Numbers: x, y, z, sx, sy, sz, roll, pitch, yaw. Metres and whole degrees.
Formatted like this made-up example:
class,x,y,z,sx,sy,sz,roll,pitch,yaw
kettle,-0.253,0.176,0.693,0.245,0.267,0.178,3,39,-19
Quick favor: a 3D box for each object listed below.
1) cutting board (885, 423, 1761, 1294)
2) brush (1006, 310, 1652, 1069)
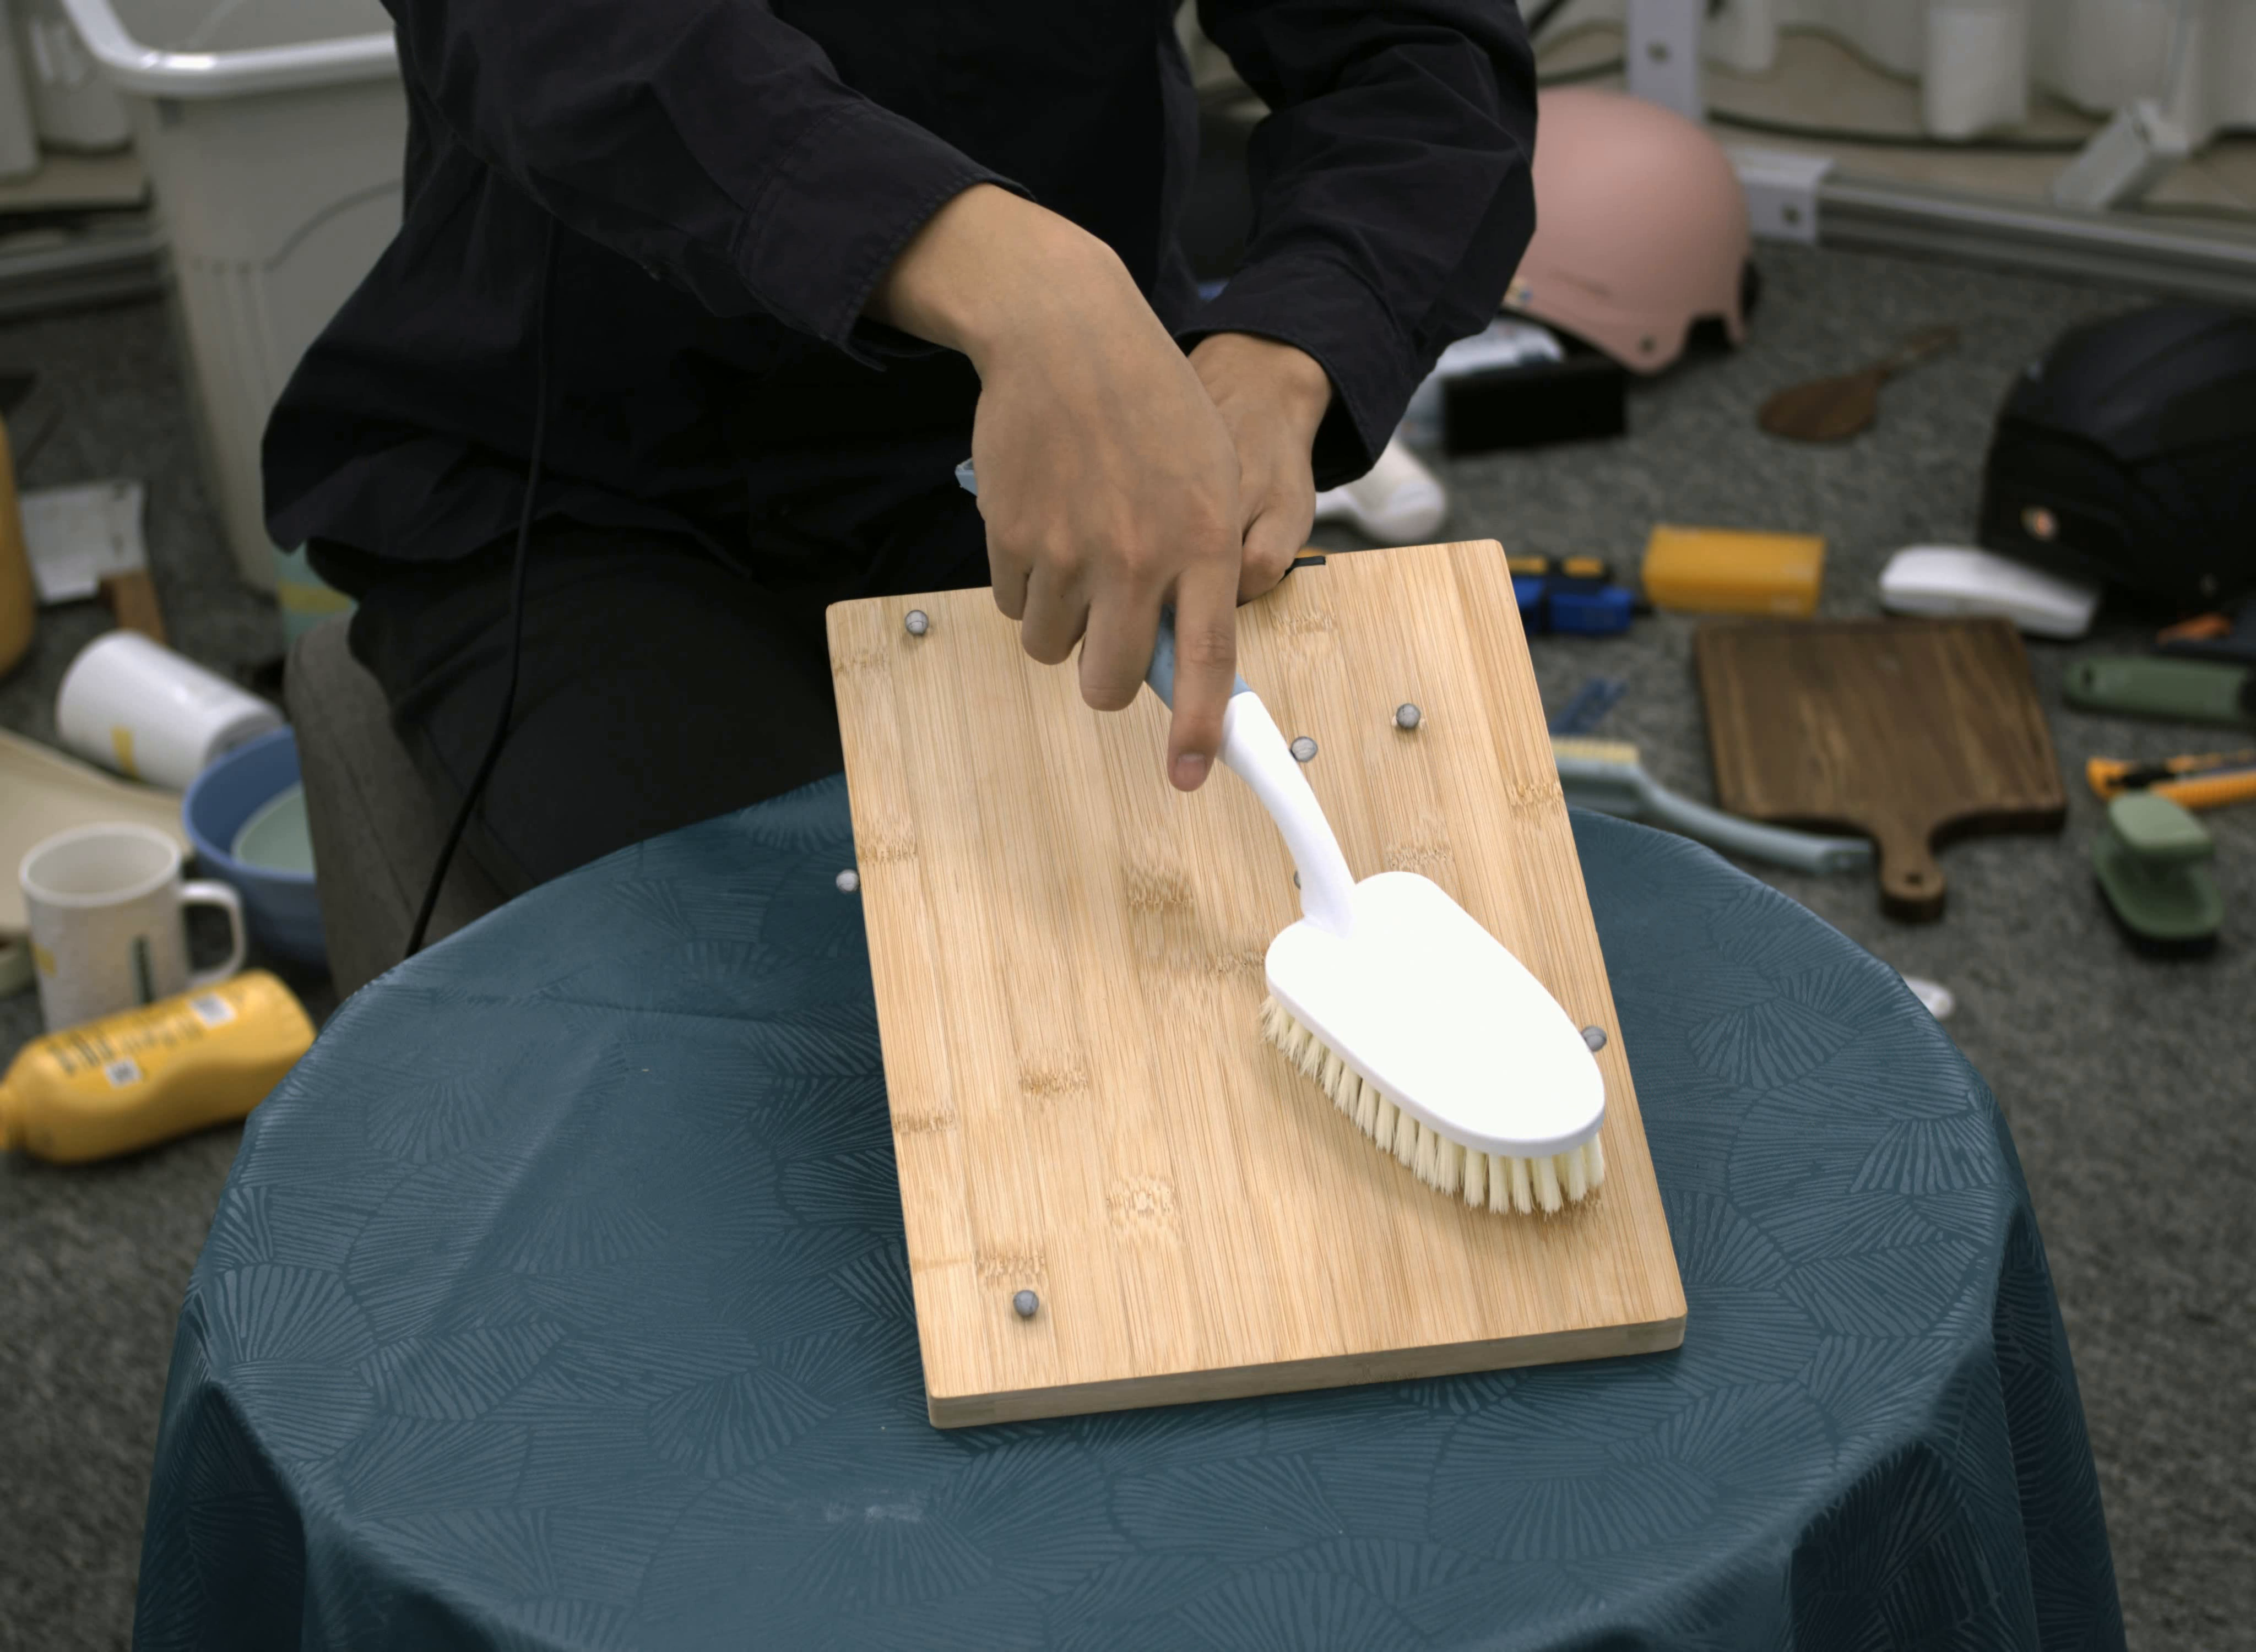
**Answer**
class,x,y,z,sx,sy,sz,roll,pitch,yaw
cutting board,0.057,0.005,1.876,0.250,0.023,0.355,-6,48,-7
brush,0.063,-0.042,1.855,0.327,0.083,0.083,49,27,23
